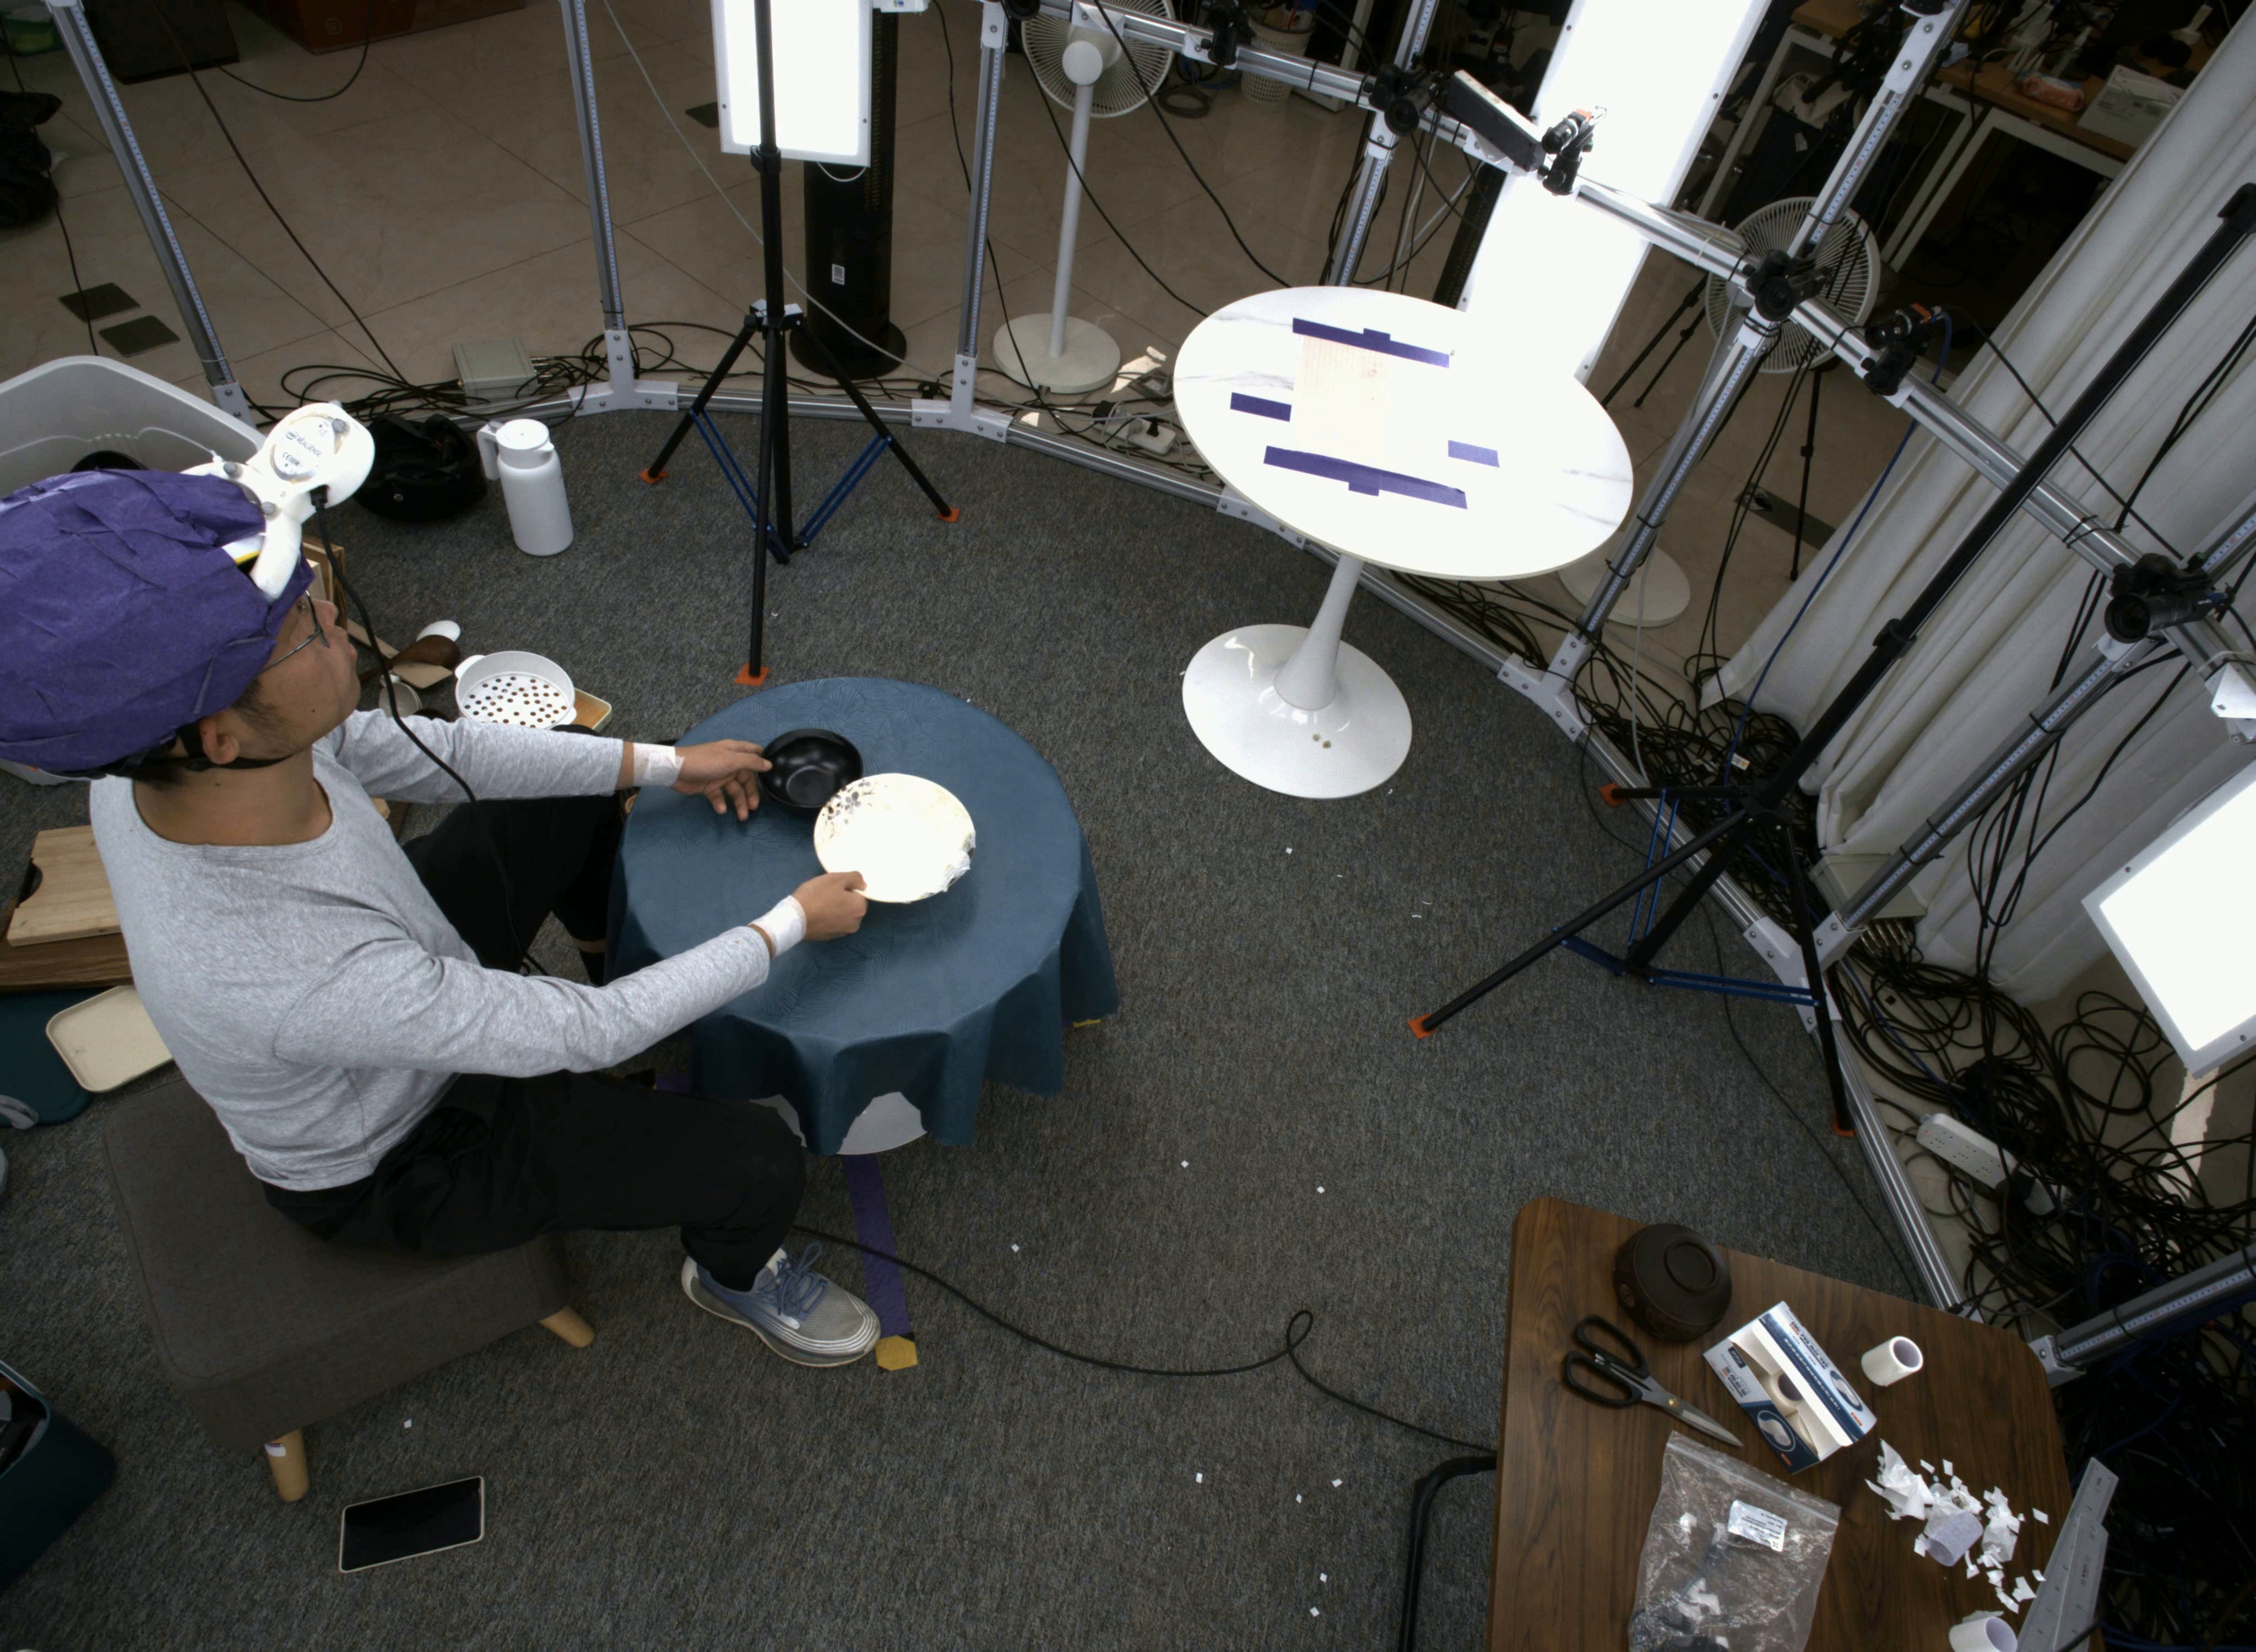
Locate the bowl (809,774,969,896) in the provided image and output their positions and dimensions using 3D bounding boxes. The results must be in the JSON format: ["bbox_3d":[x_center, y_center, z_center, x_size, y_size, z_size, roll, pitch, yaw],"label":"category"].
[{"bbox_3d":[-0.311,0.030,1.674,0.204,0.079,0.200,13,45,-11],"label":"bowl"}]

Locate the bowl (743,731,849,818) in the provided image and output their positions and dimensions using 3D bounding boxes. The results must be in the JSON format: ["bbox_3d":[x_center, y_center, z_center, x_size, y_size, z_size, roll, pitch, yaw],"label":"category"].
[{"bbox_3d":[-0.445,-0.061,1.745,0.139,0.051,0.137,6,52,-6],"label":"bowl"}]
